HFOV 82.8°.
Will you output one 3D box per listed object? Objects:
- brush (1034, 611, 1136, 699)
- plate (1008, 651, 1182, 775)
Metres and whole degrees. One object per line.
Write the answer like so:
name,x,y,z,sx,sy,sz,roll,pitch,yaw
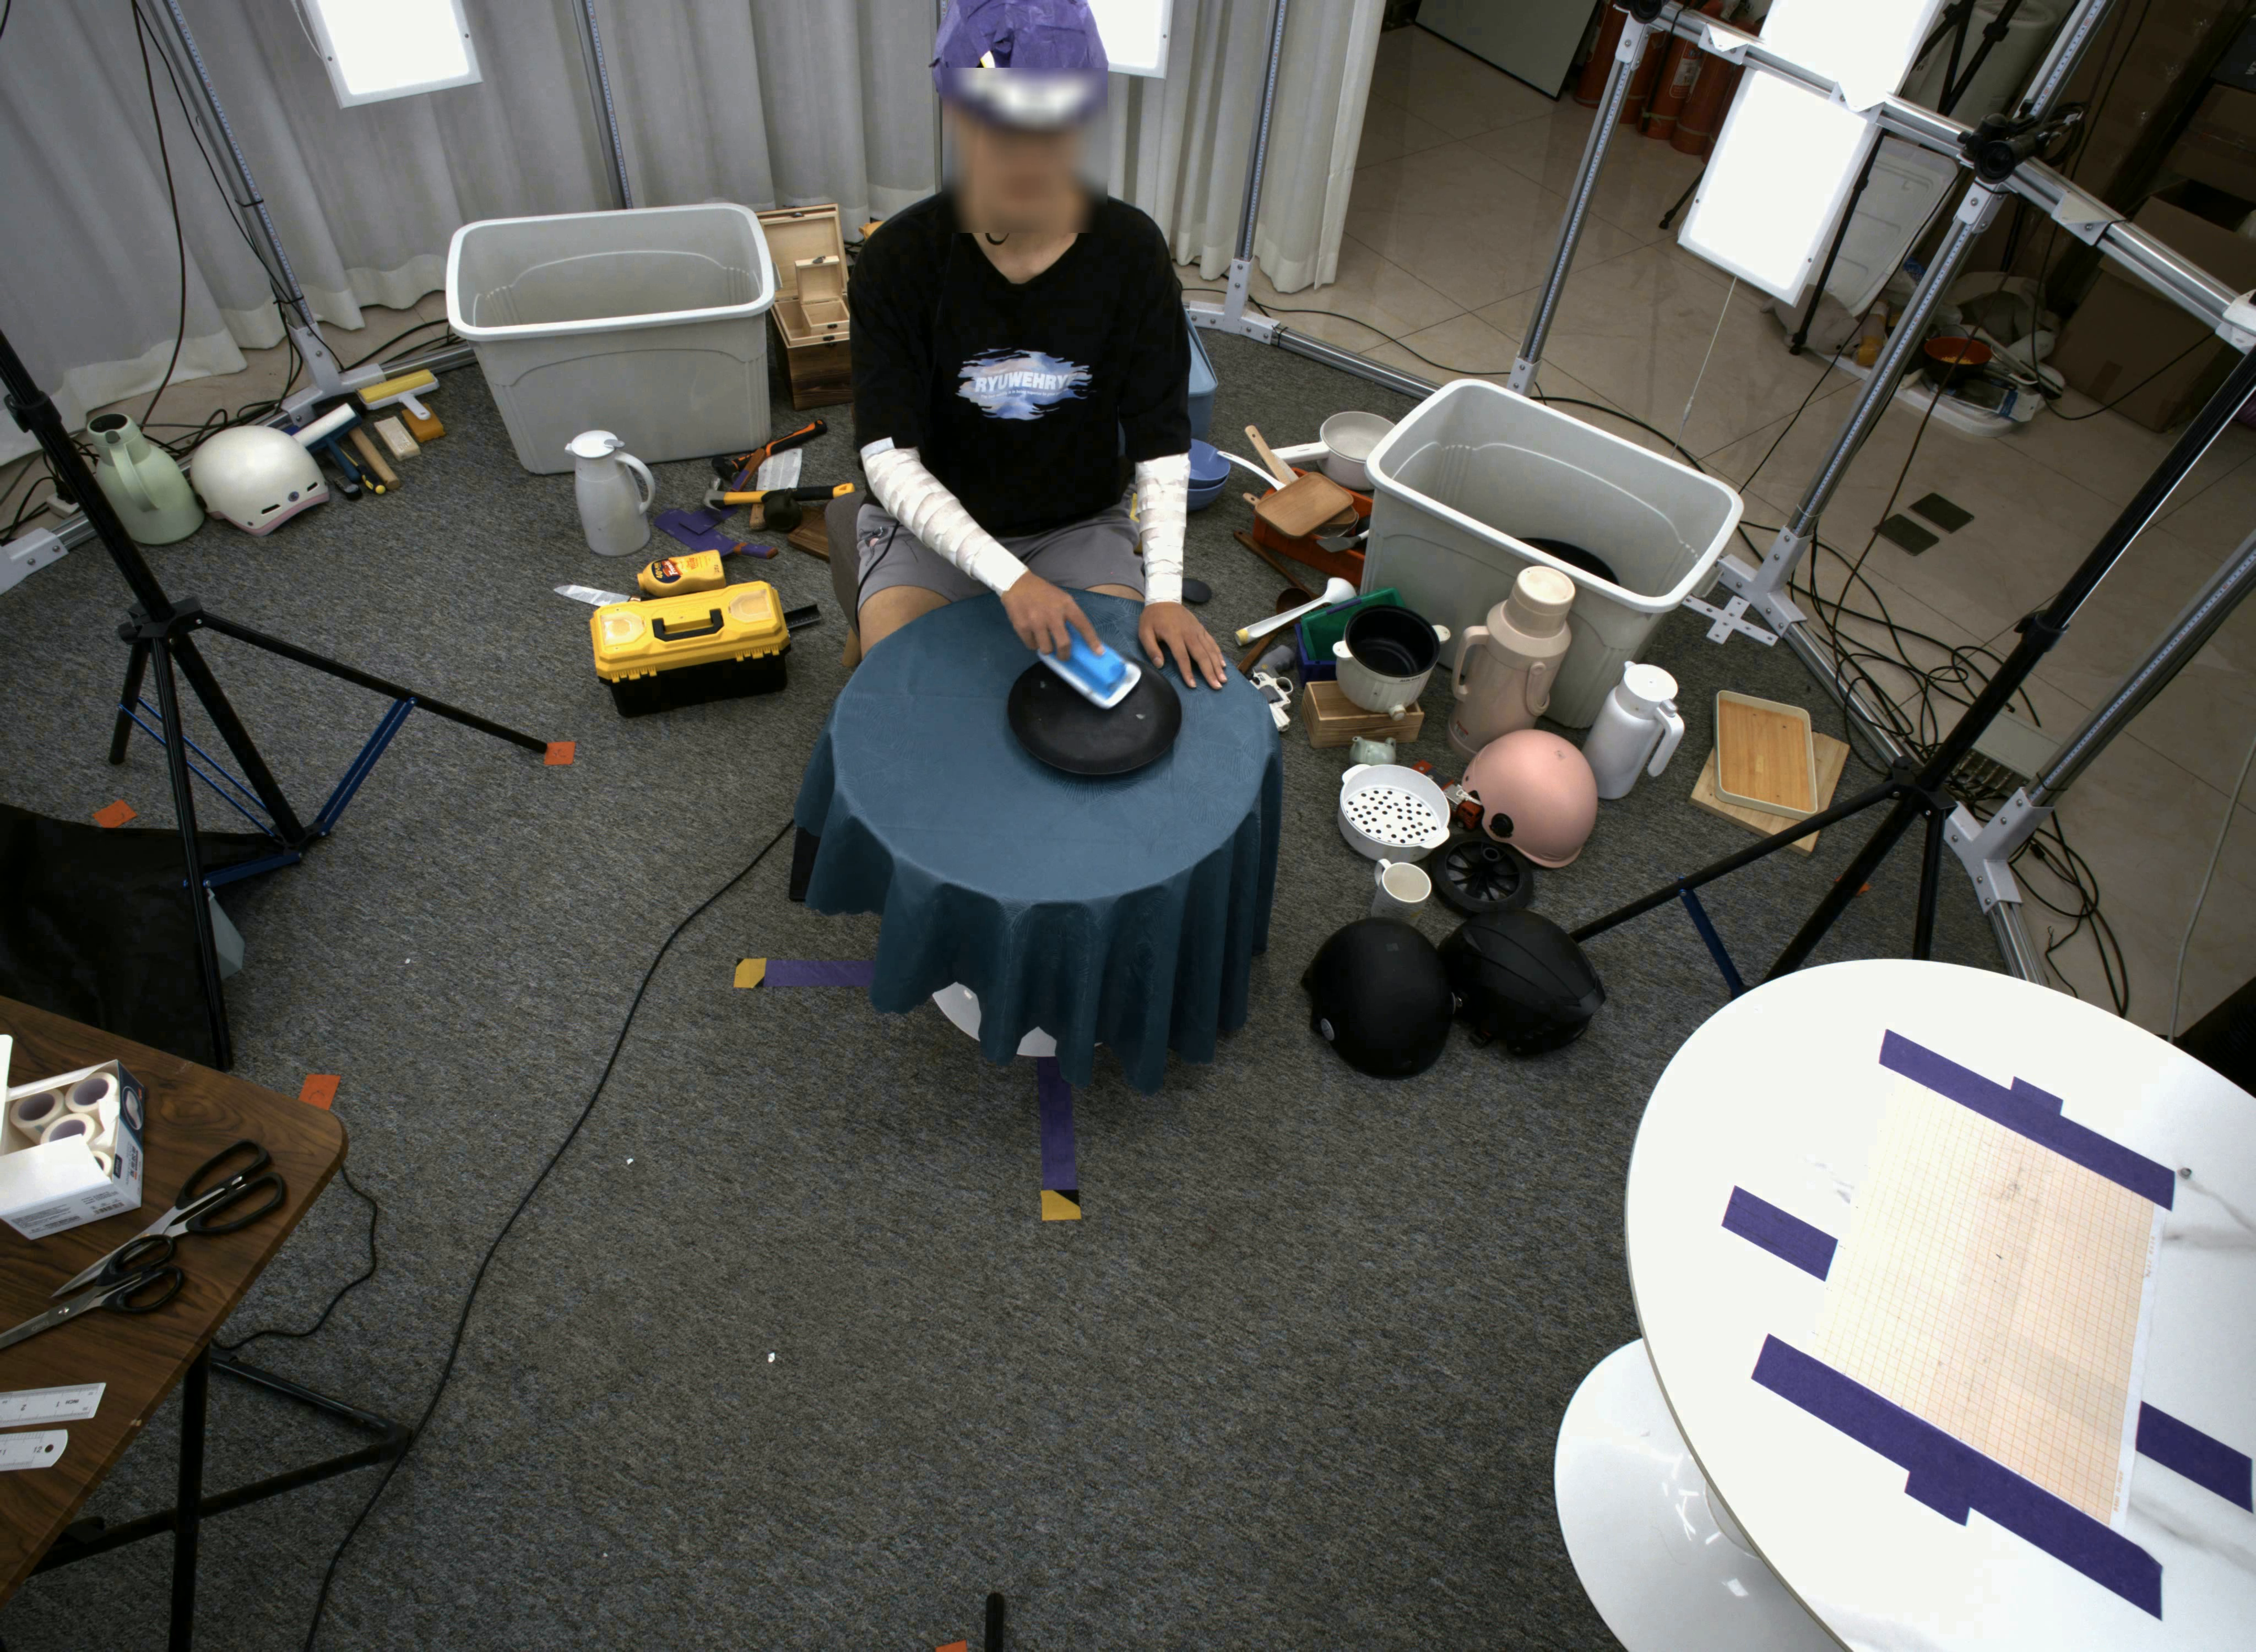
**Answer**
brush,-0.056,-0.248,1.810,0.144,0.055,0.085,37,63,4
plate,-0.046,-0.159,1.792,0.244,0.023,0.250,2,50,-2
